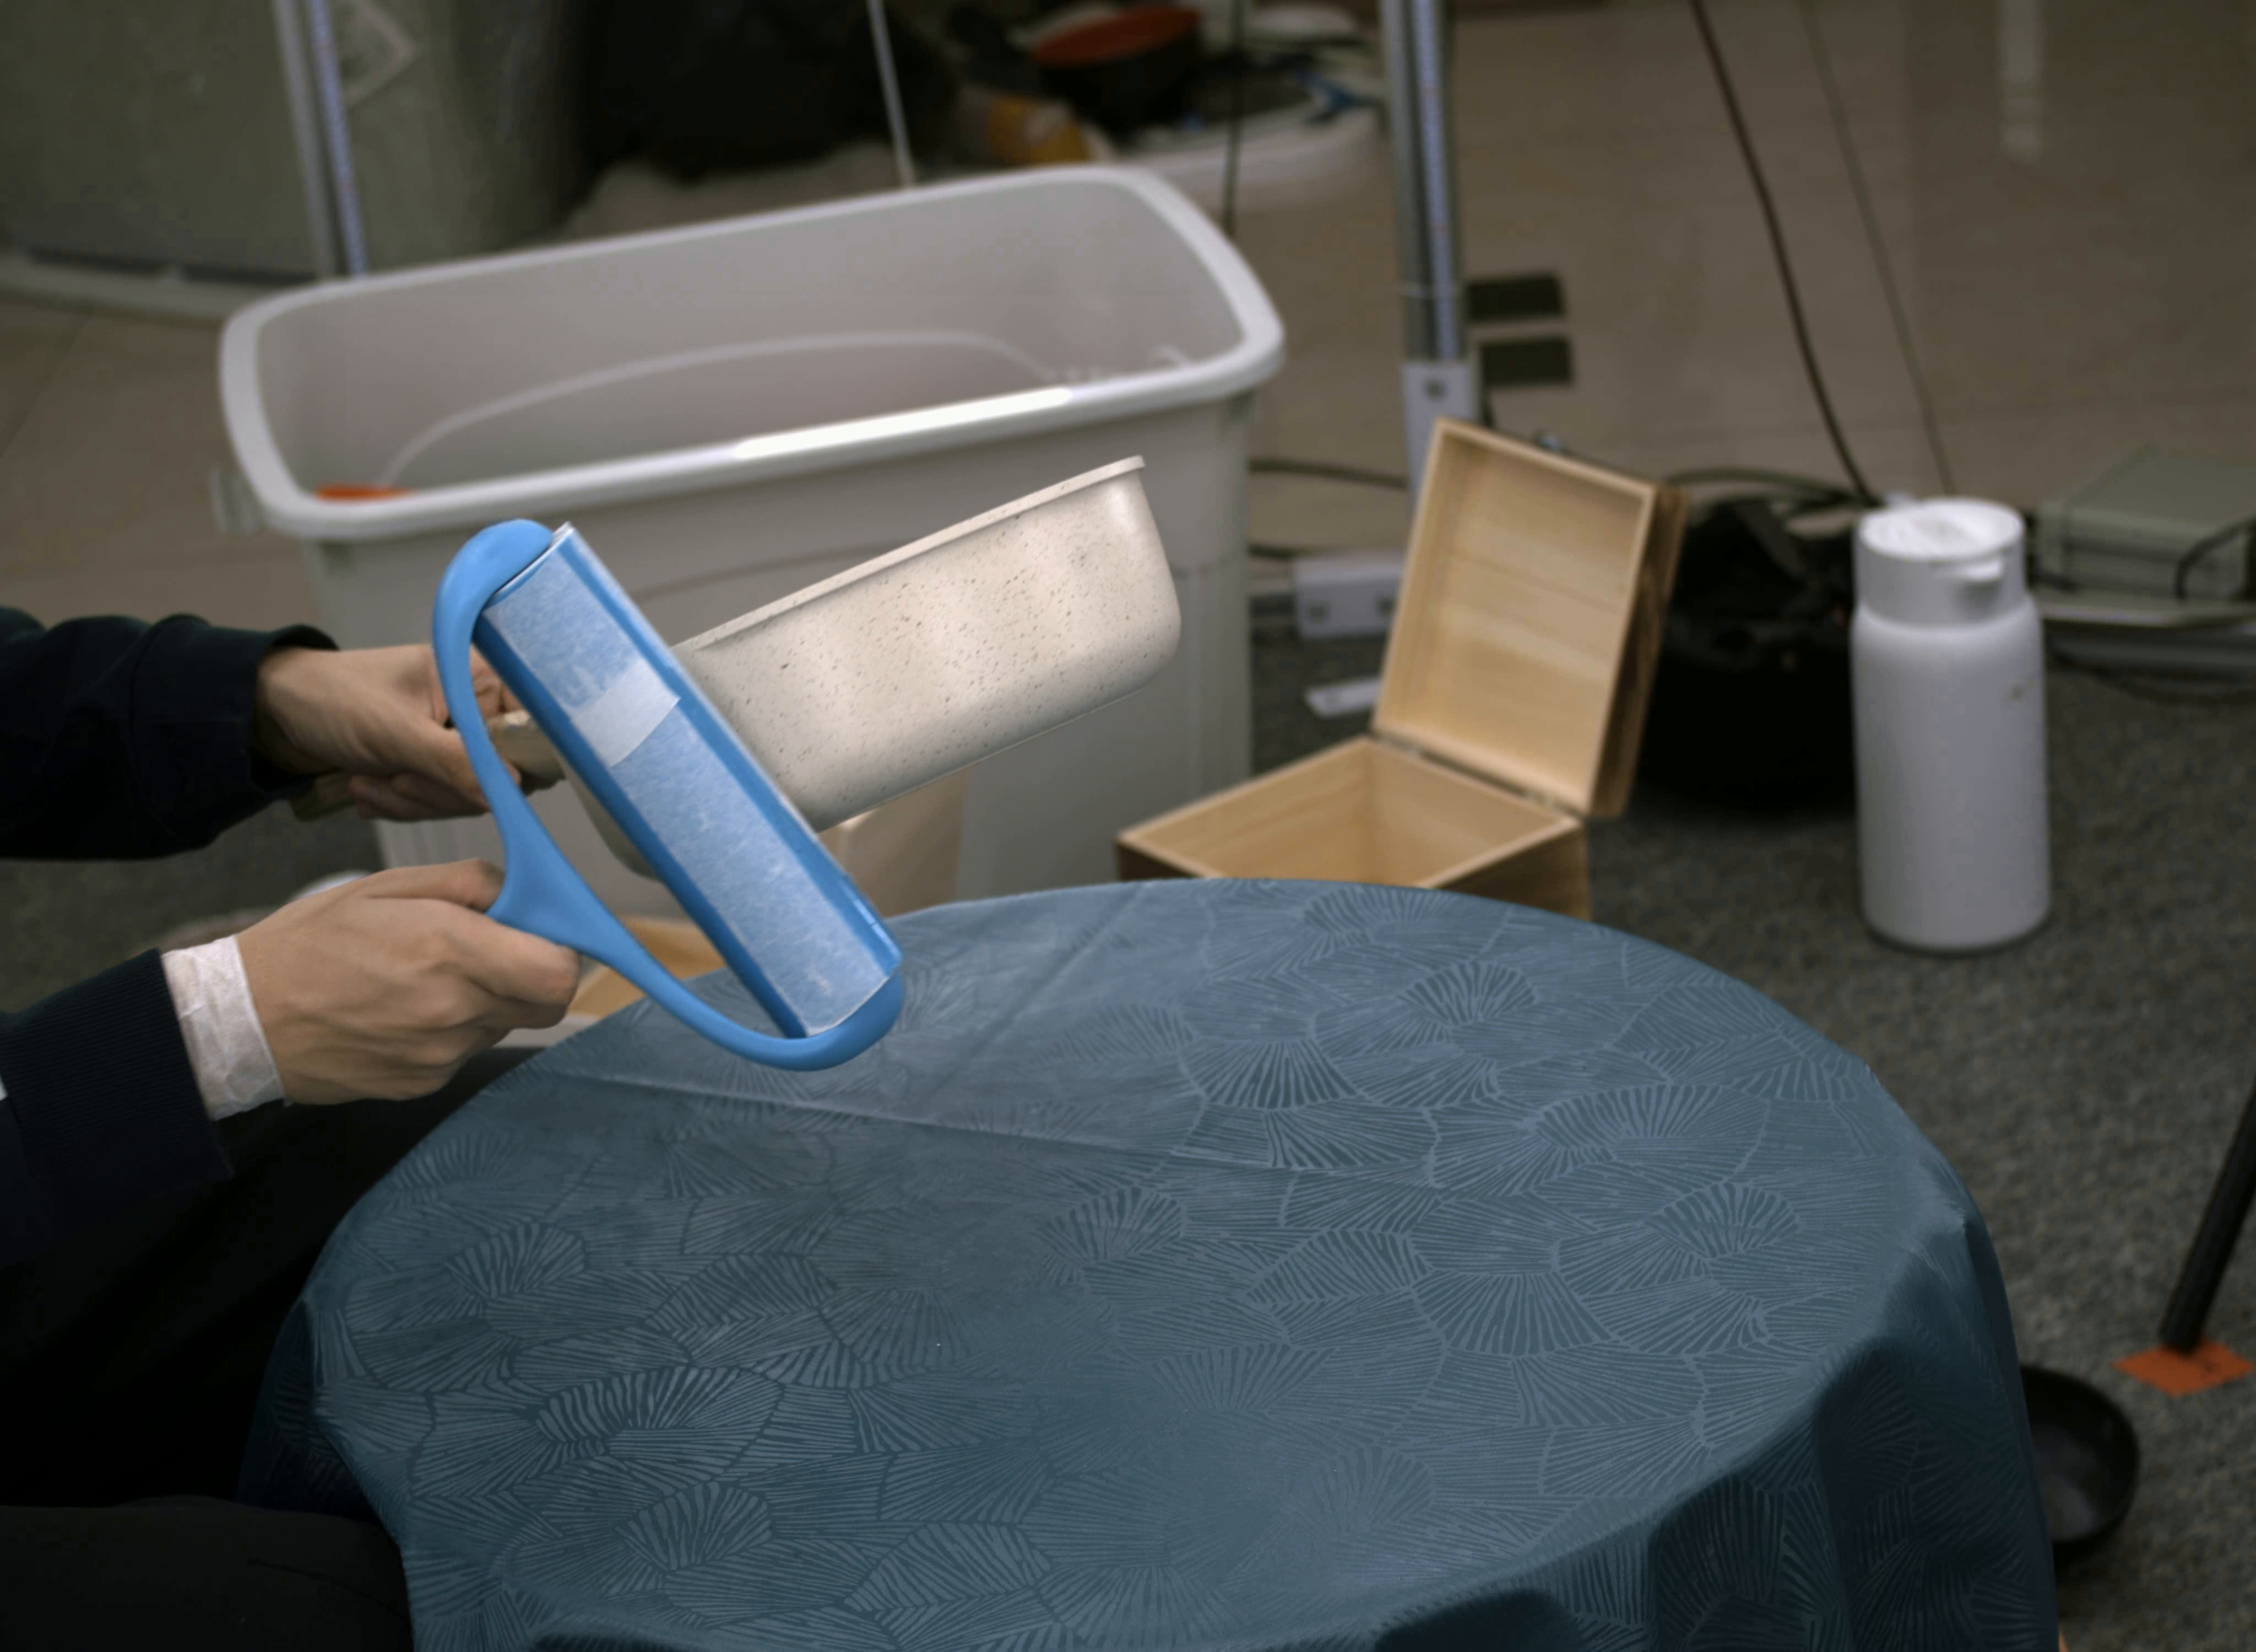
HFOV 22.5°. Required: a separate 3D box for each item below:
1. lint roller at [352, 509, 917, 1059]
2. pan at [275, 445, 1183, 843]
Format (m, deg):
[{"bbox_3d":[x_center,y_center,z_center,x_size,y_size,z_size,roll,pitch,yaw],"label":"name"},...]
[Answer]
[{"bbox_3d":[-0.199,0.021,1.988,0.180,0.230,0.067,-40,12,4],"label":"lint roller"},{"bbox_3d":[-0.163,-0.032,2.173,0.437,0.102,0.261,-22,3,39],"label":"pan"}]
